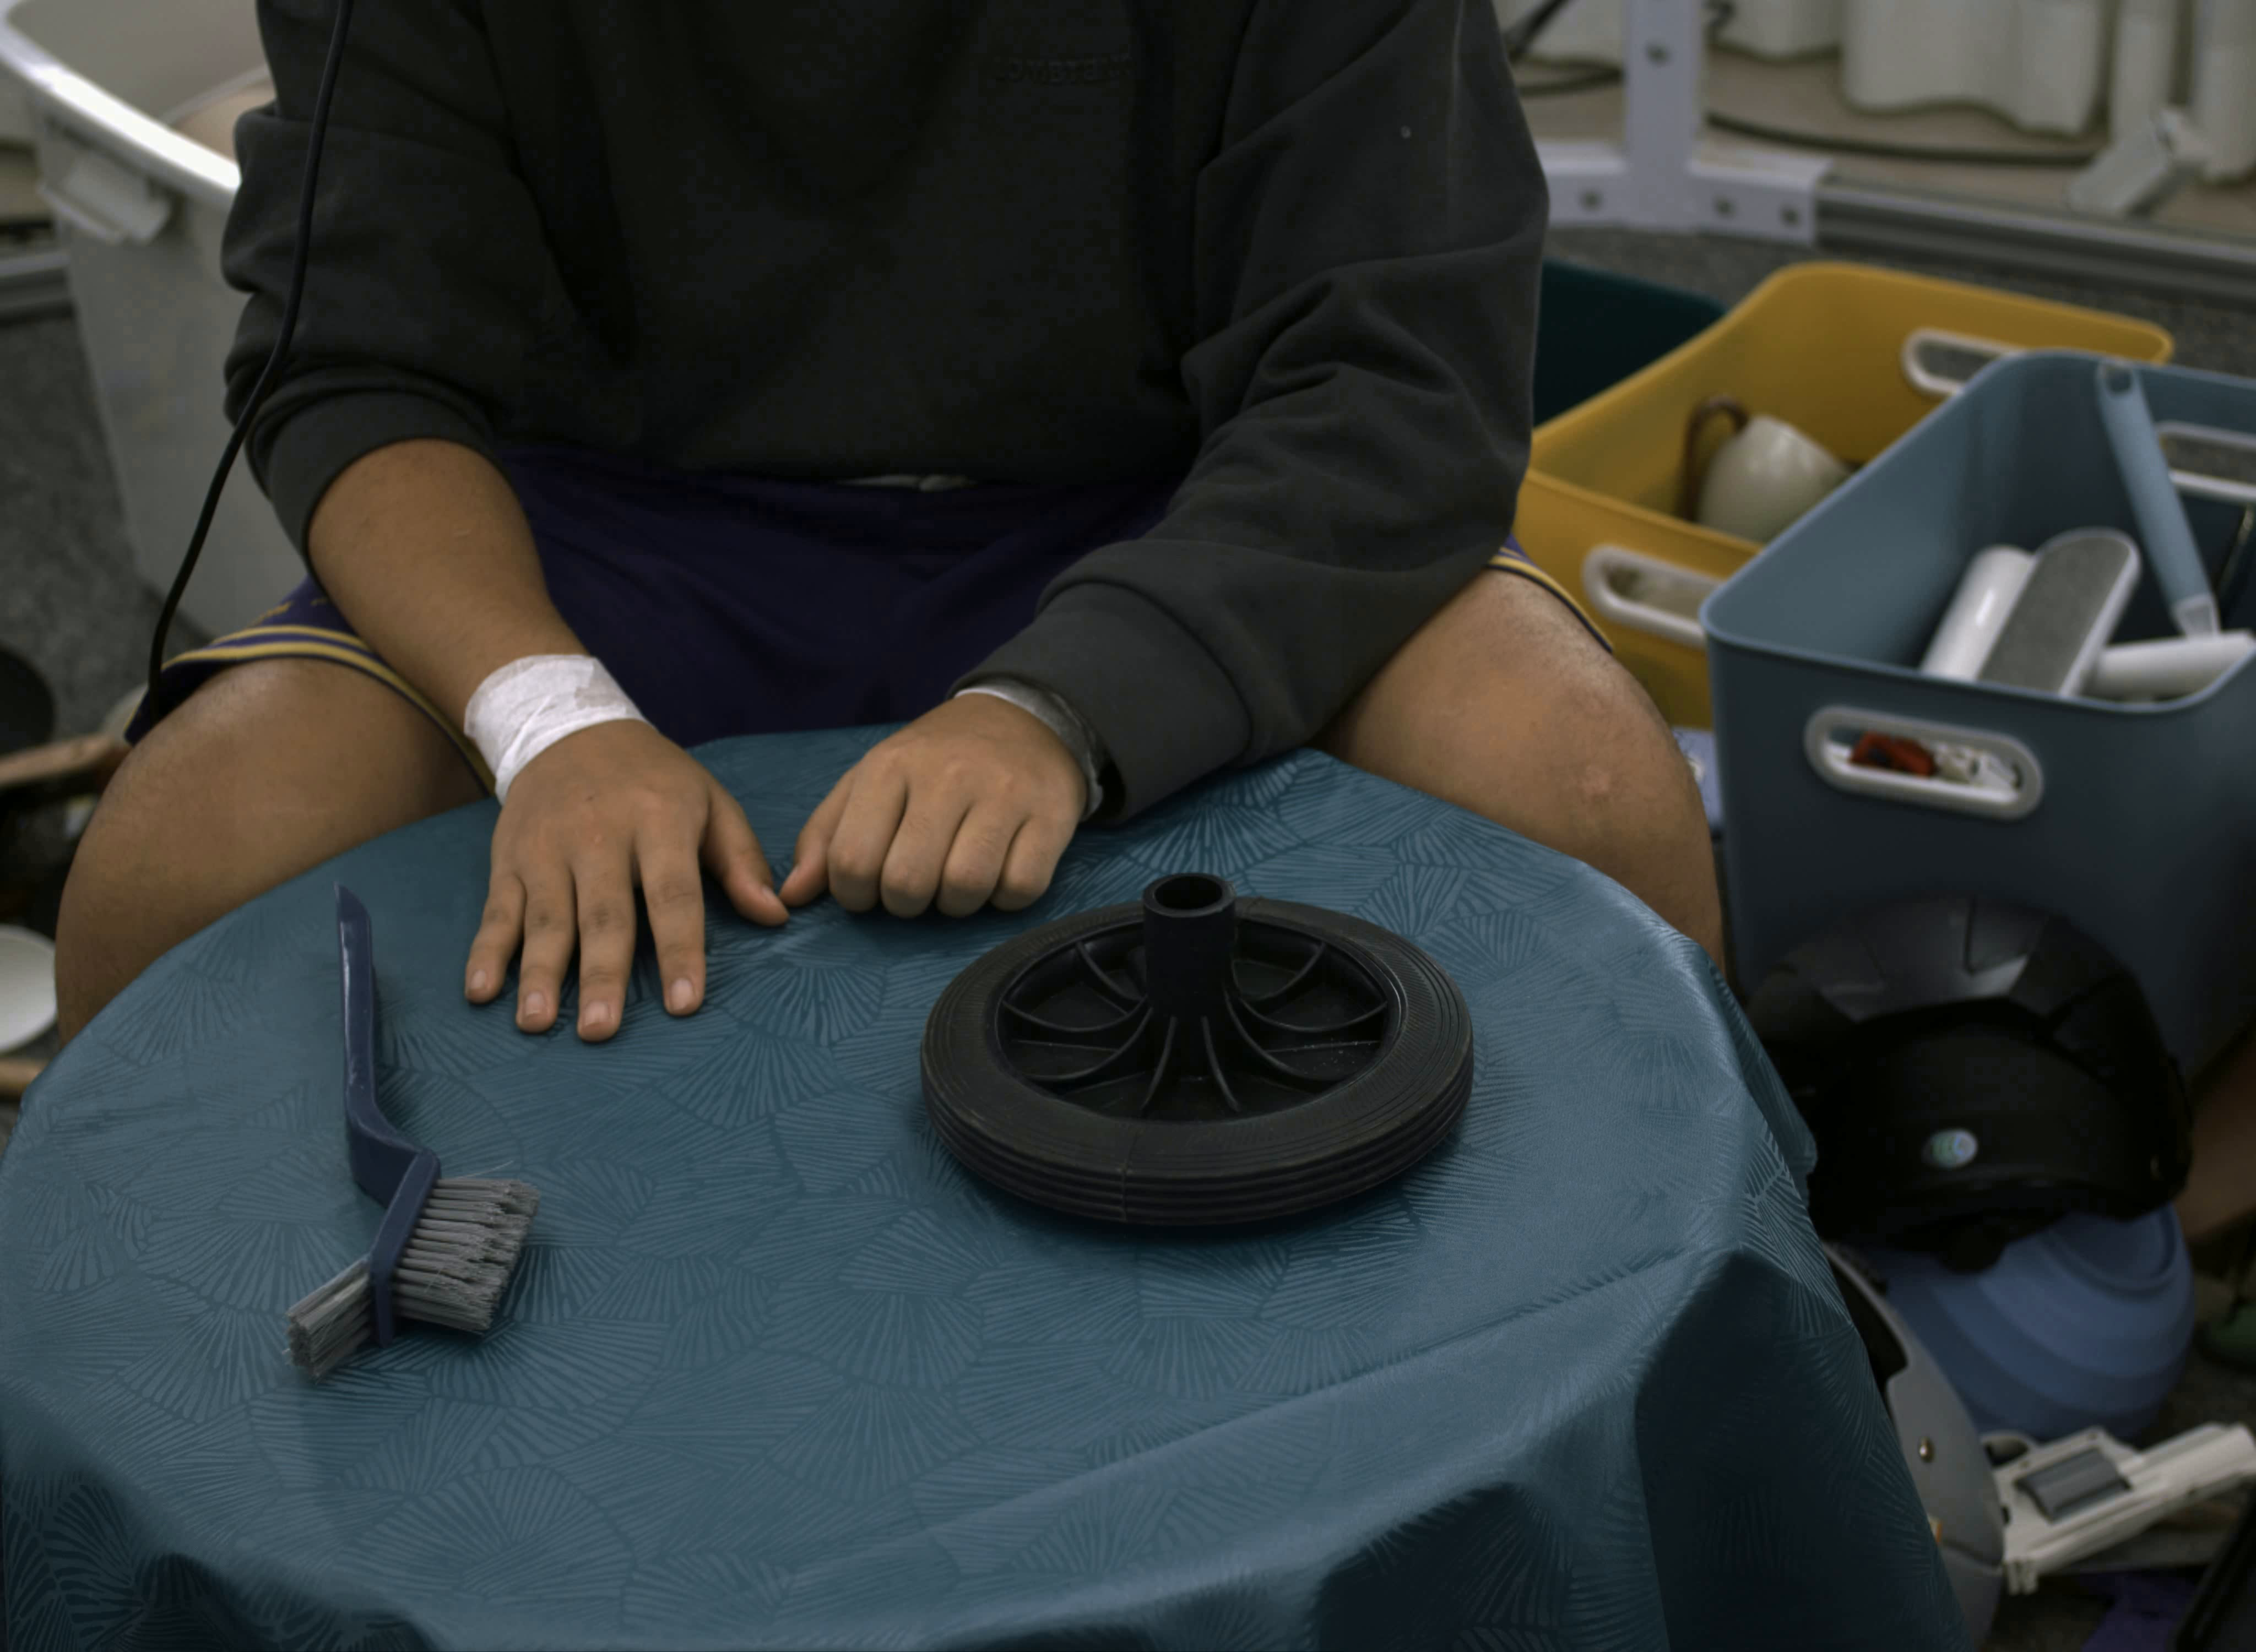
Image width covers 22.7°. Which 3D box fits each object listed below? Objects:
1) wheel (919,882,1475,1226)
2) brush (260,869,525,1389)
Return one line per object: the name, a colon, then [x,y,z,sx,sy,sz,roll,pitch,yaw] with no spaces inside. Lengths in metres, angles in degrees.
wheel: [0.022,0.061,1.895,0.189,0.078,0.190,-23,33,-33]
brush: [-0.265,0.098,1.900,0.096,0.033,0.276,-10,30,-13]
